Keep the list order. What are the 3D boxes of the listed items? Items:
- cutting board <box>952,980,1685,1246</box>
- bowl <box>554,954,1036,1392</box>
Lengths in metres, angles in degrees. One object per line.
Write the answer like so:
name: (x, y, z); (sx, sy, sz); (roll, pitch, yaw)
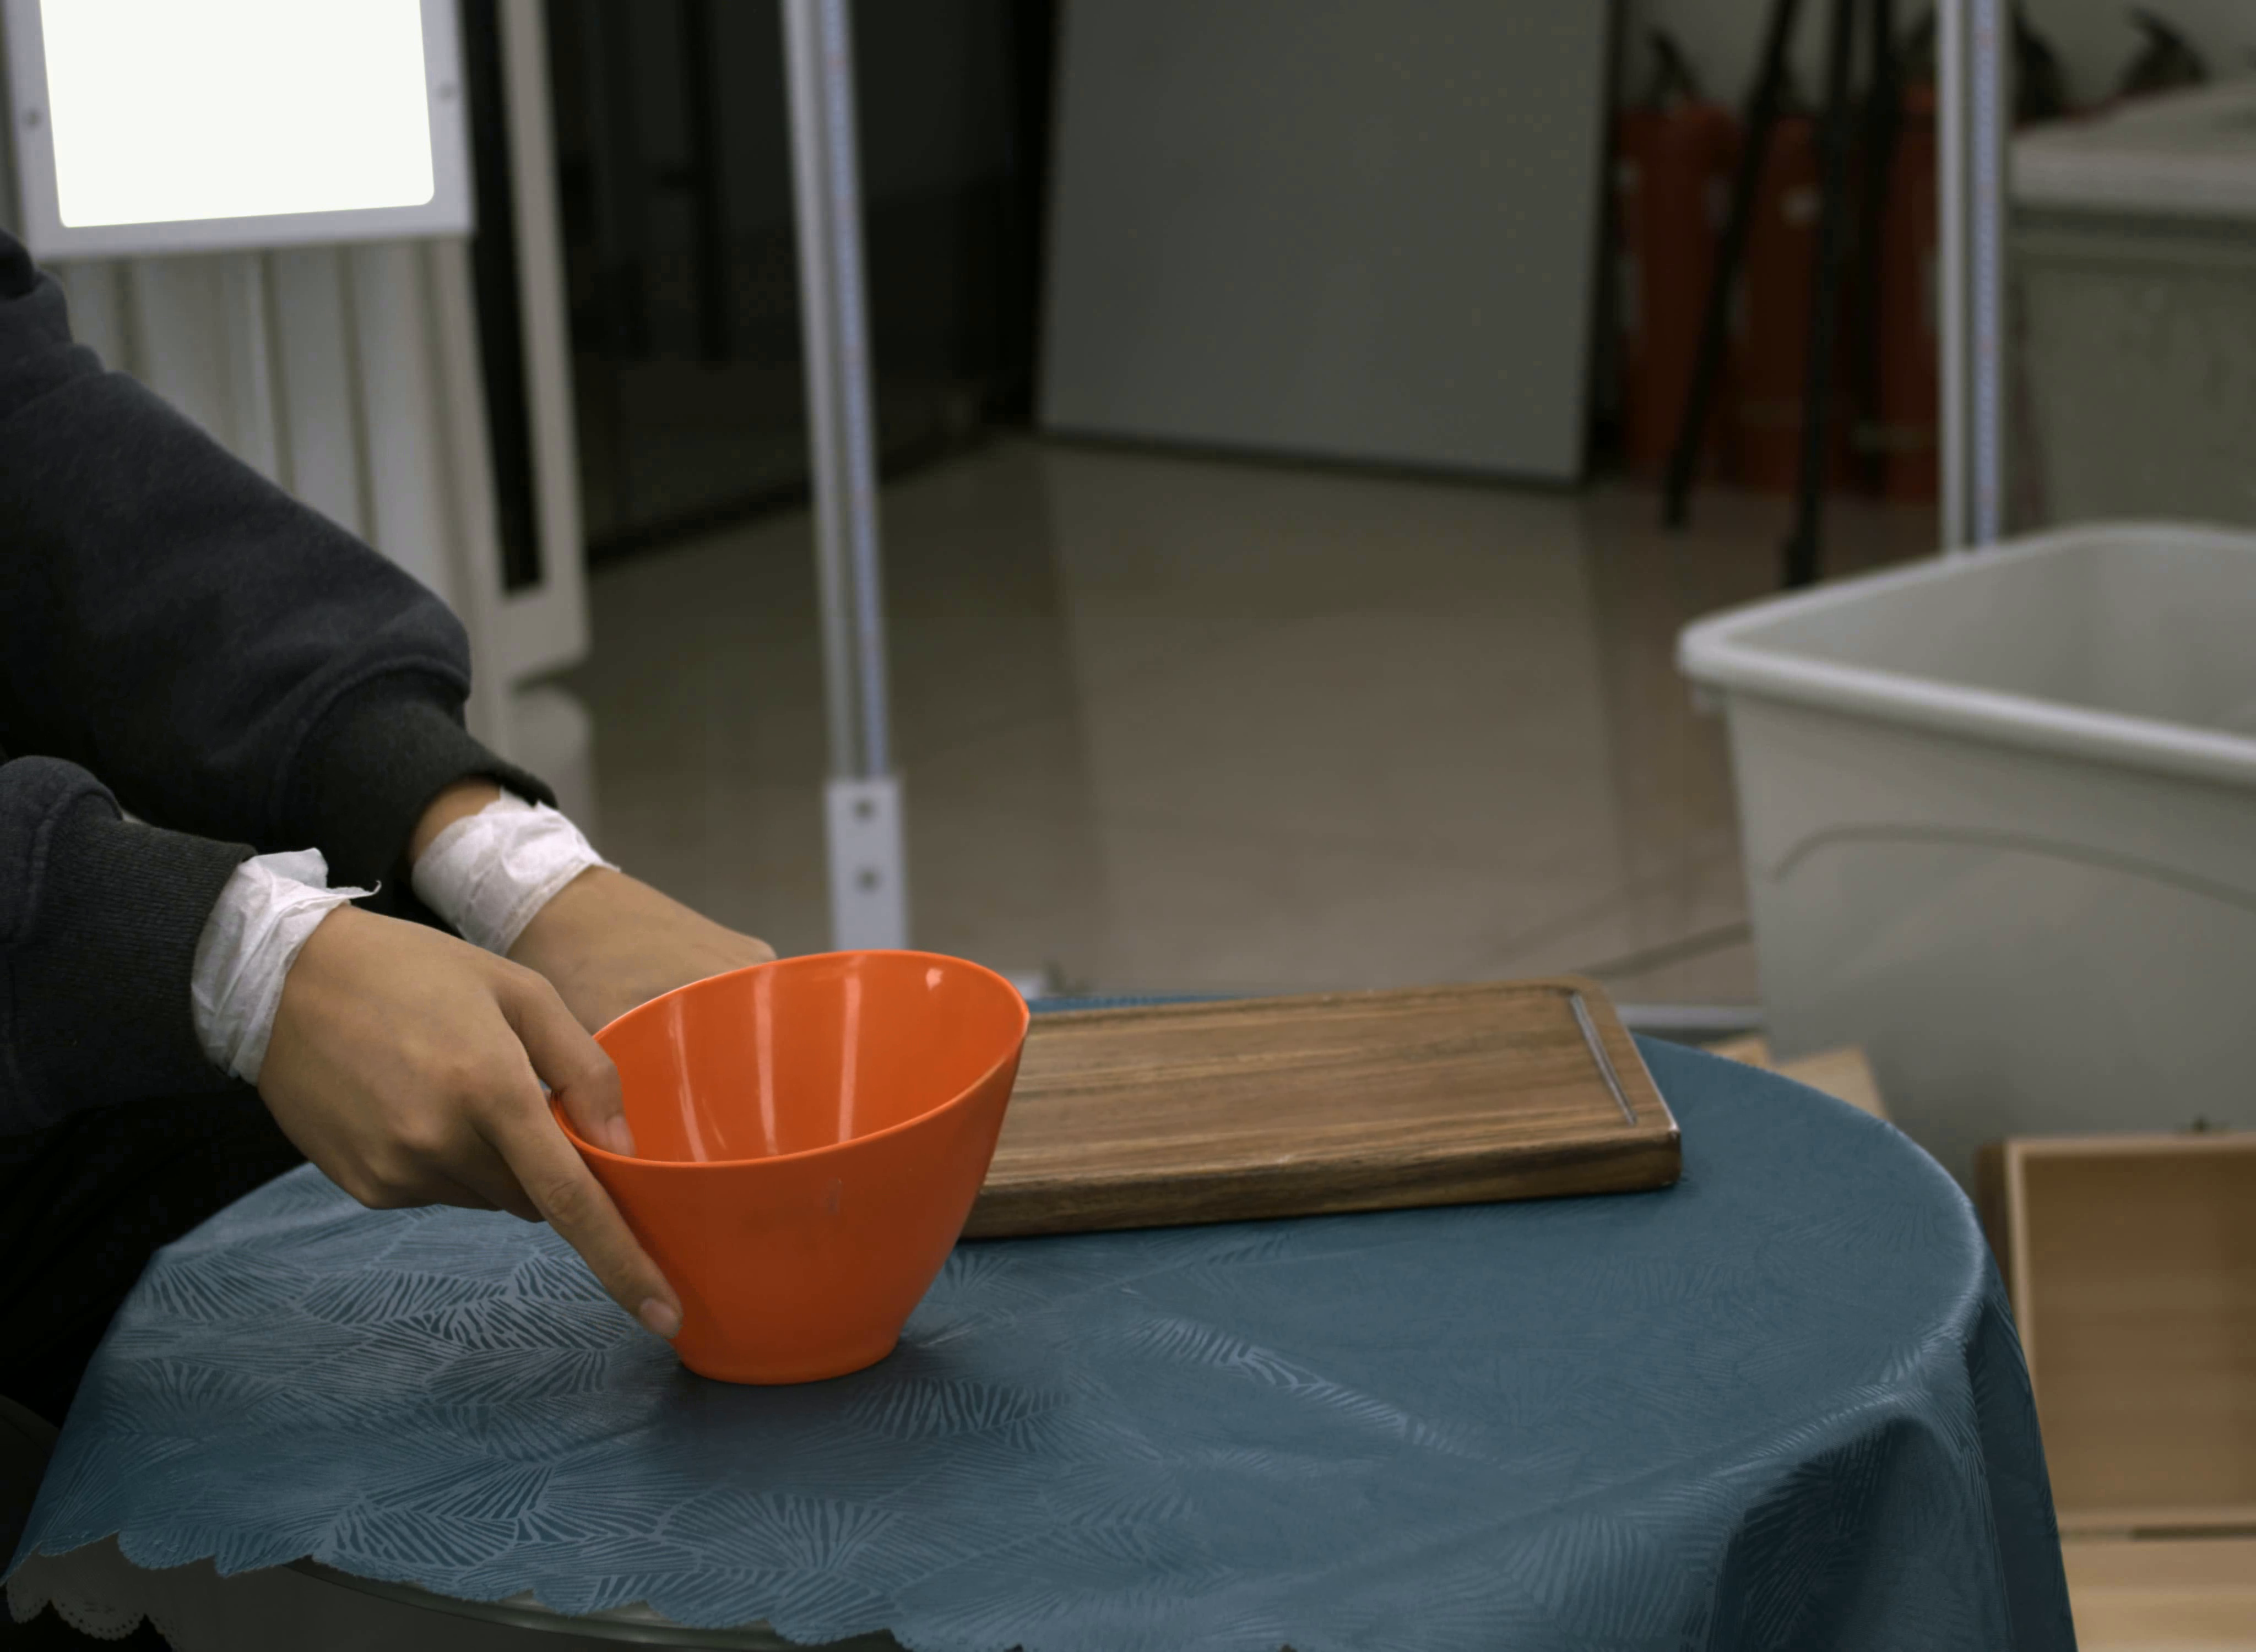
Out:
cutting board: (0.002, 0.098, 1.820); (0.347, 0.023, 0.201); (-5, 13, -1)
bowl: (-0.098, 0.108, 1.636); (0.146, 0.106, 0.148); (-3, 13, 0)
